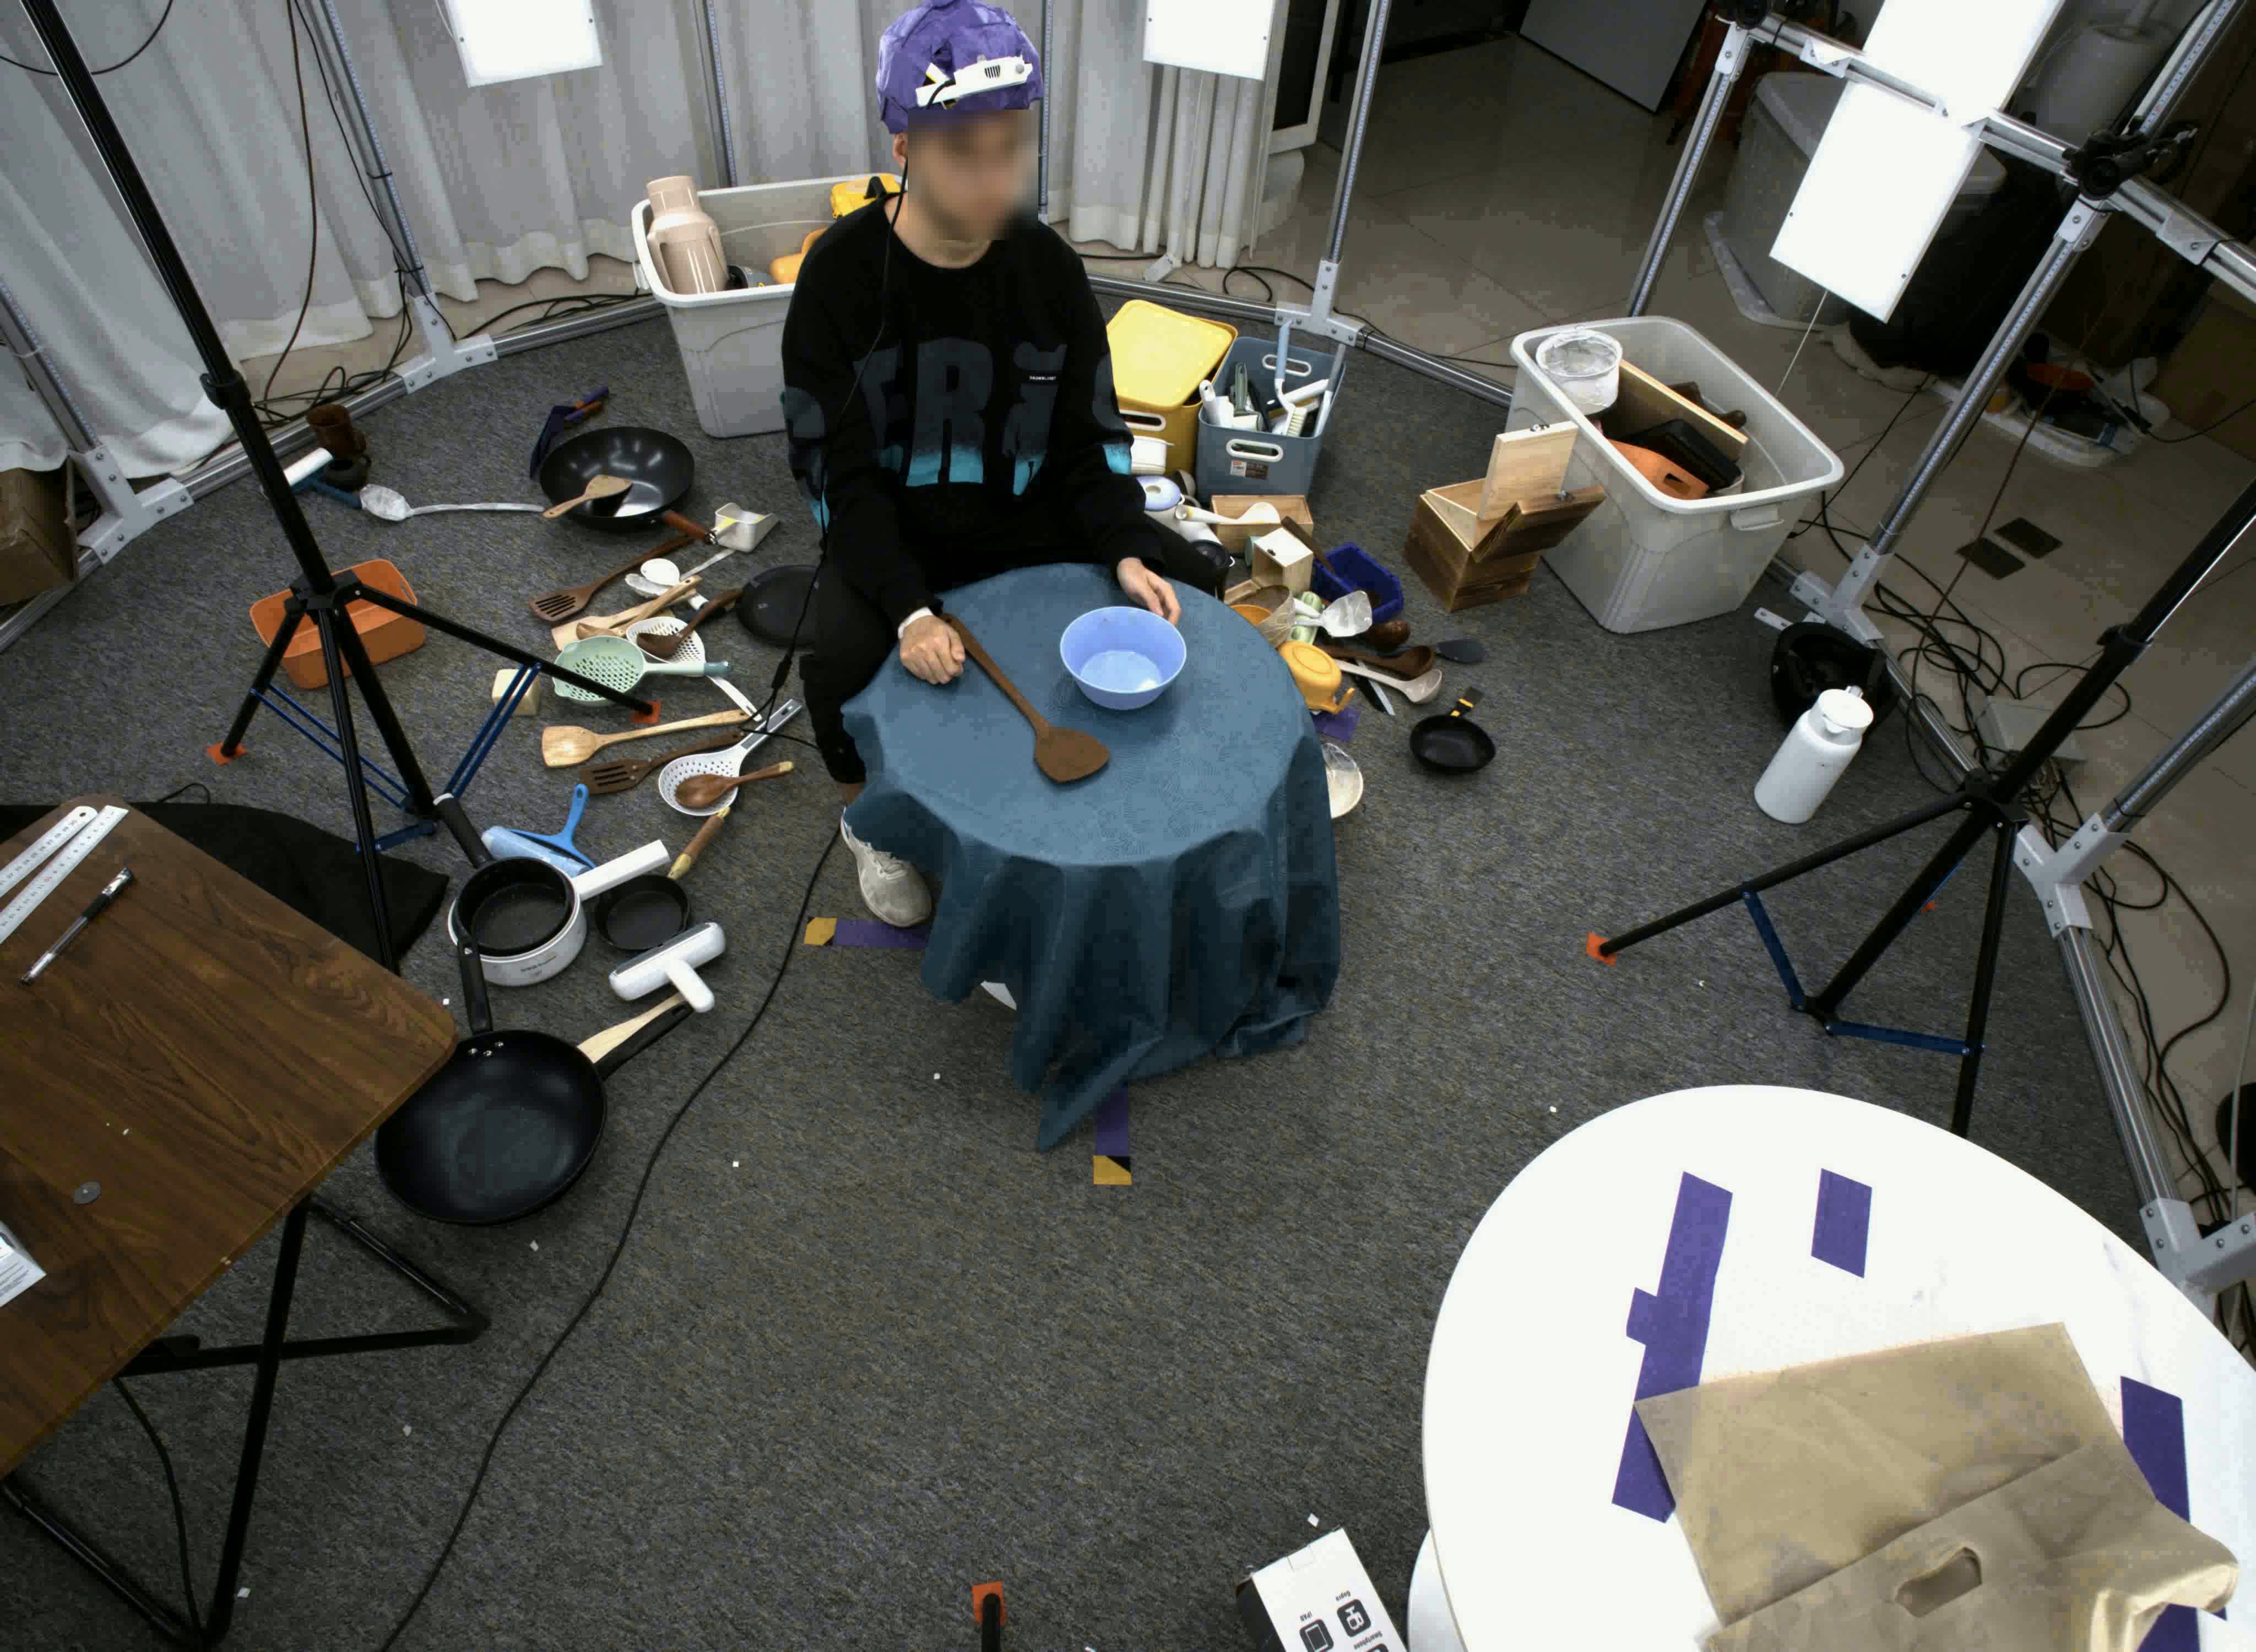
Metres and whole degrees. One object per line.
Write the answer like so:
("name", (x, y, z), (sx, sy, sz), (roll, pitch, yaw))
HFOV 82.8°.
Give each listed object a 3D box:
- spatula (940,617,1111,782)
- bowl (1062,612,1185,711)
("spatula", (-0.164, -0.191, 1.831), (0.096, 0.015, 0.393), (-26, 55, -24))
("bowl", (-0.008, -0.227, 1.837), (0.176, 0.068, 0.180), (2, 47, -2))
